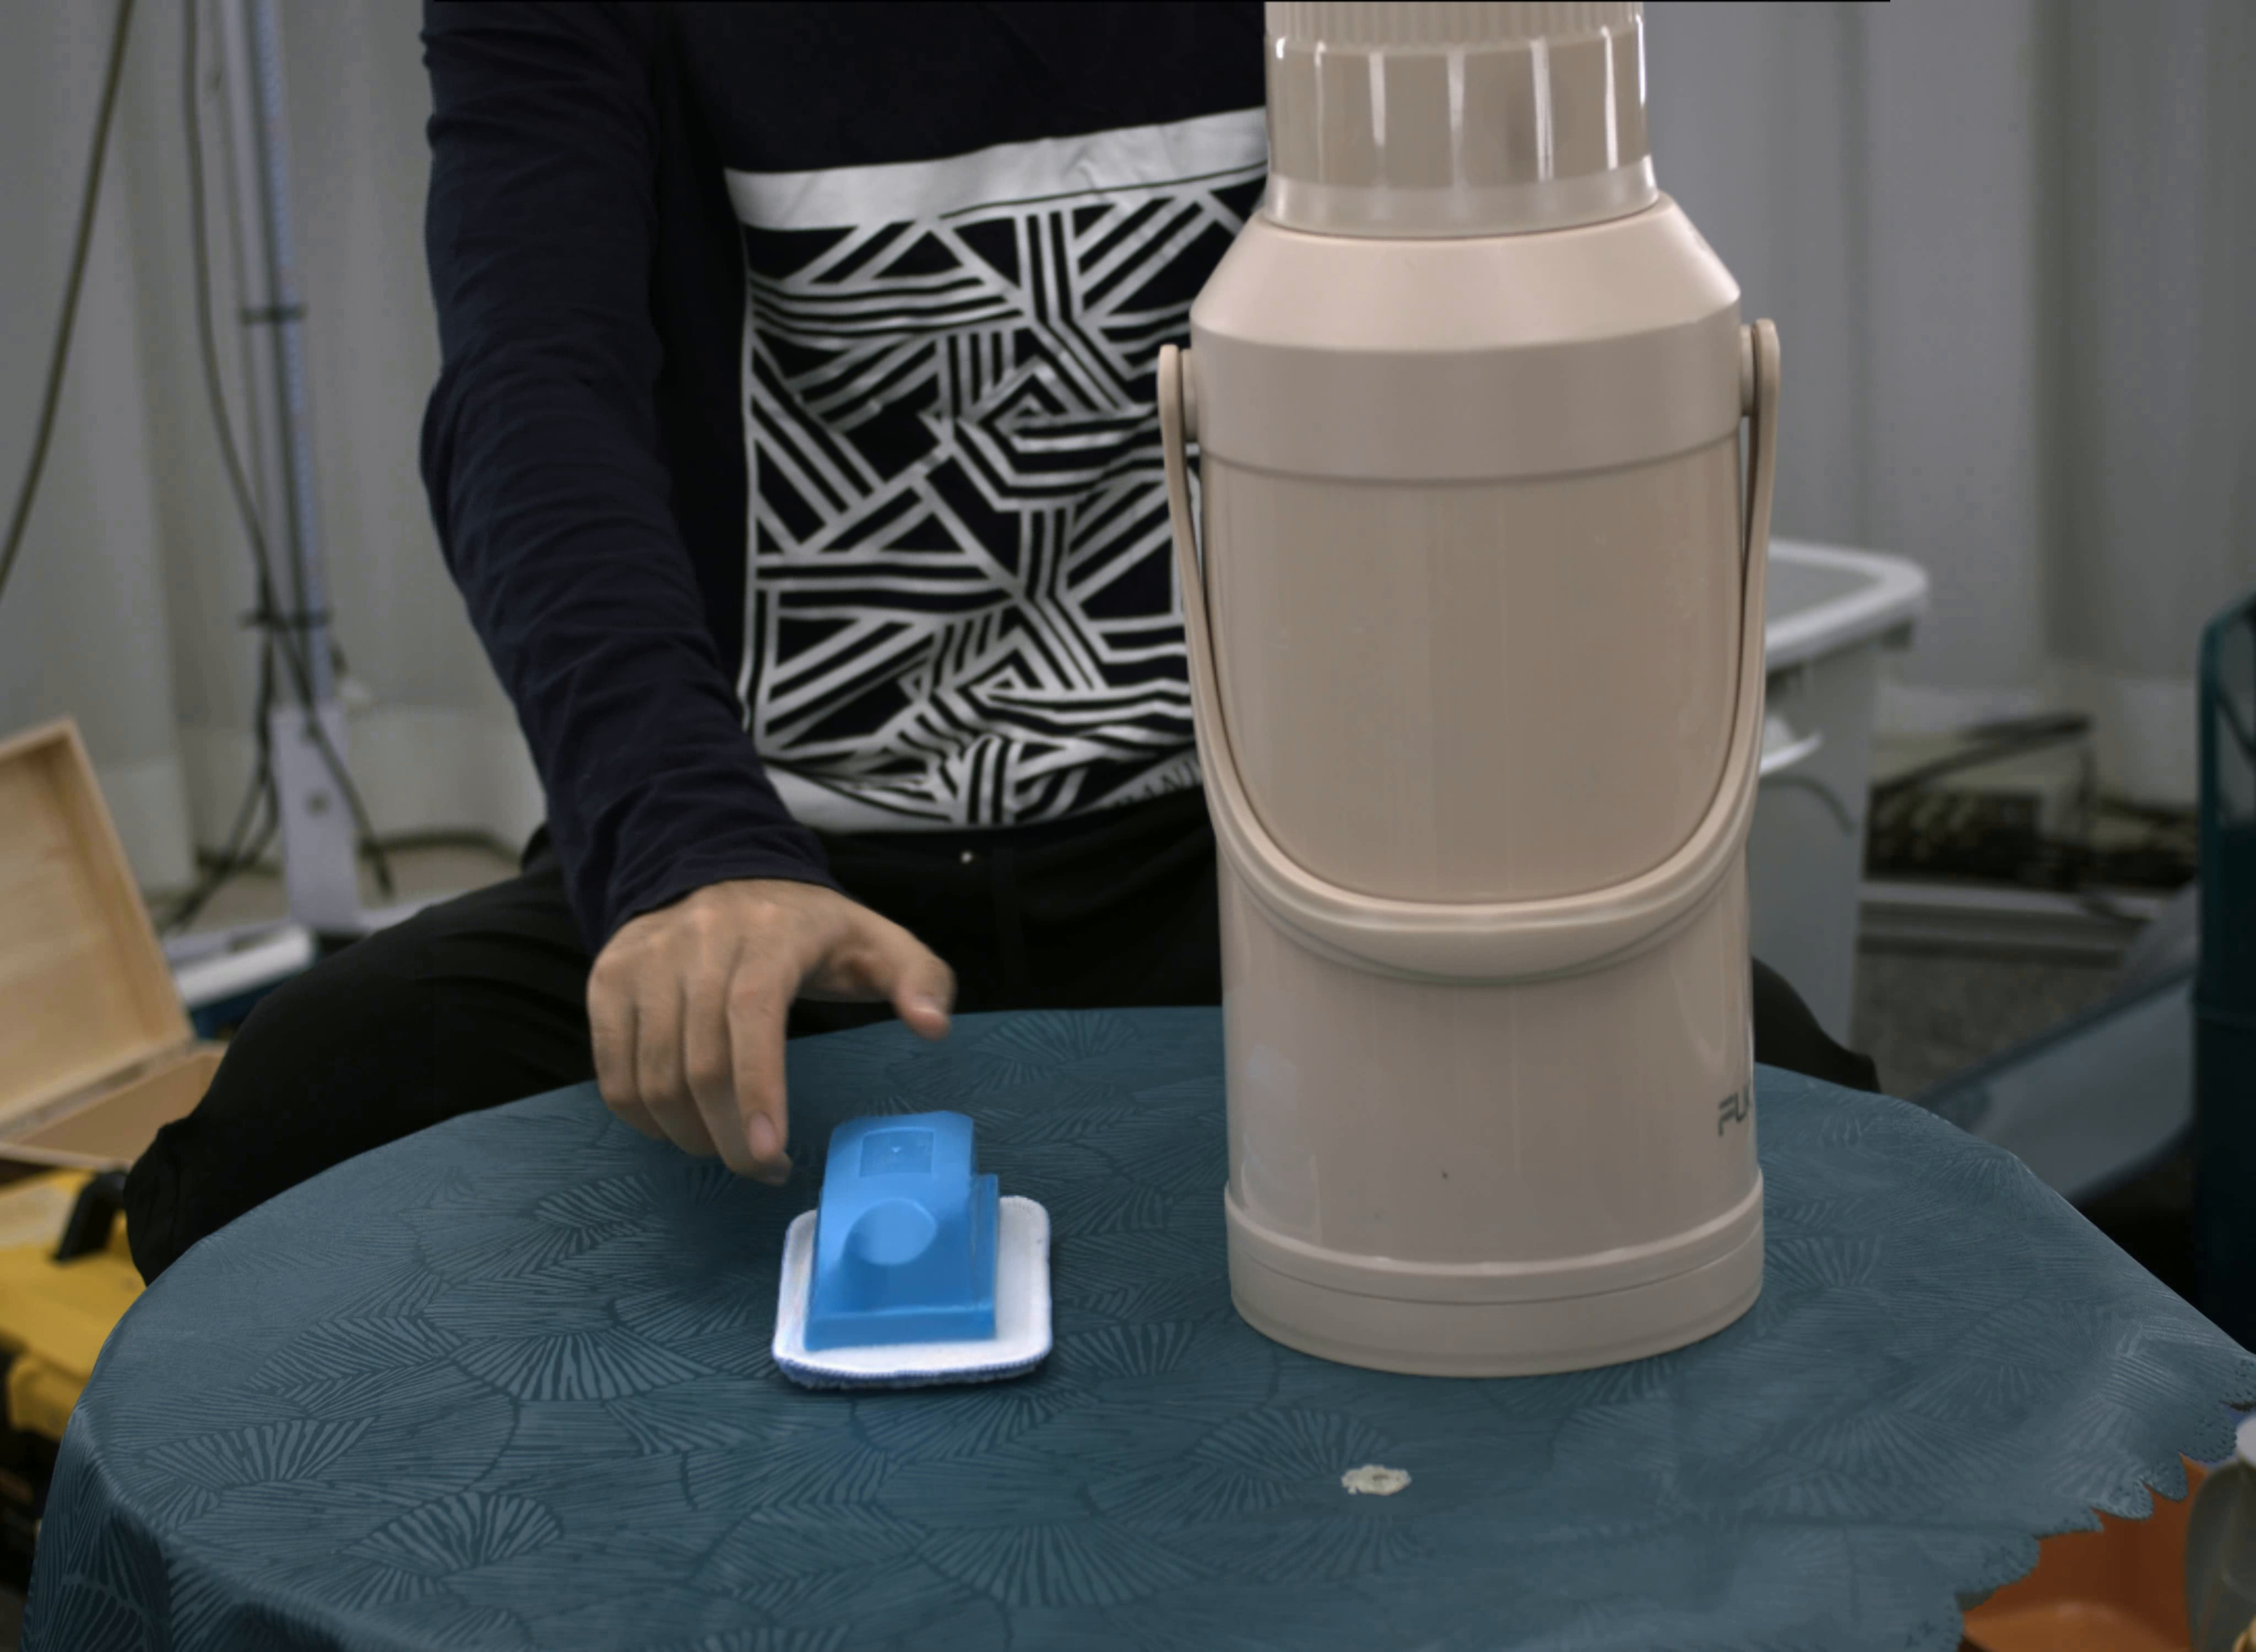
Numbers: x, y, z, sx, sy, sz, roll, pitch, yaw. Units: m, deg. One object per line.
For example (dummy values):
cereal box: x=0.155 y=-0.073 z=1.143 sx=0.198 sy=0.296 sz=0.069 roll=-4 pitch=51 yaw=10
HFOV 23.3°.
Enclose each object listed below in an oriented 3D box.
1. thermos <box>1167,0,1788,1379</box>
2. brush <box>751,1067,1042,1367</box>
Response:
thermos: x=0.104 y=-0.059 z=1.581 sx=0.175 sy=0.405 sz=0.208 roll=-4 pitch=13 yaw=2
brush: x=-0.068 y=0.112 z=1.616 sx=0.083 sy=0.055 sz=0.145 roll=1 pitch=19 yaw=0
